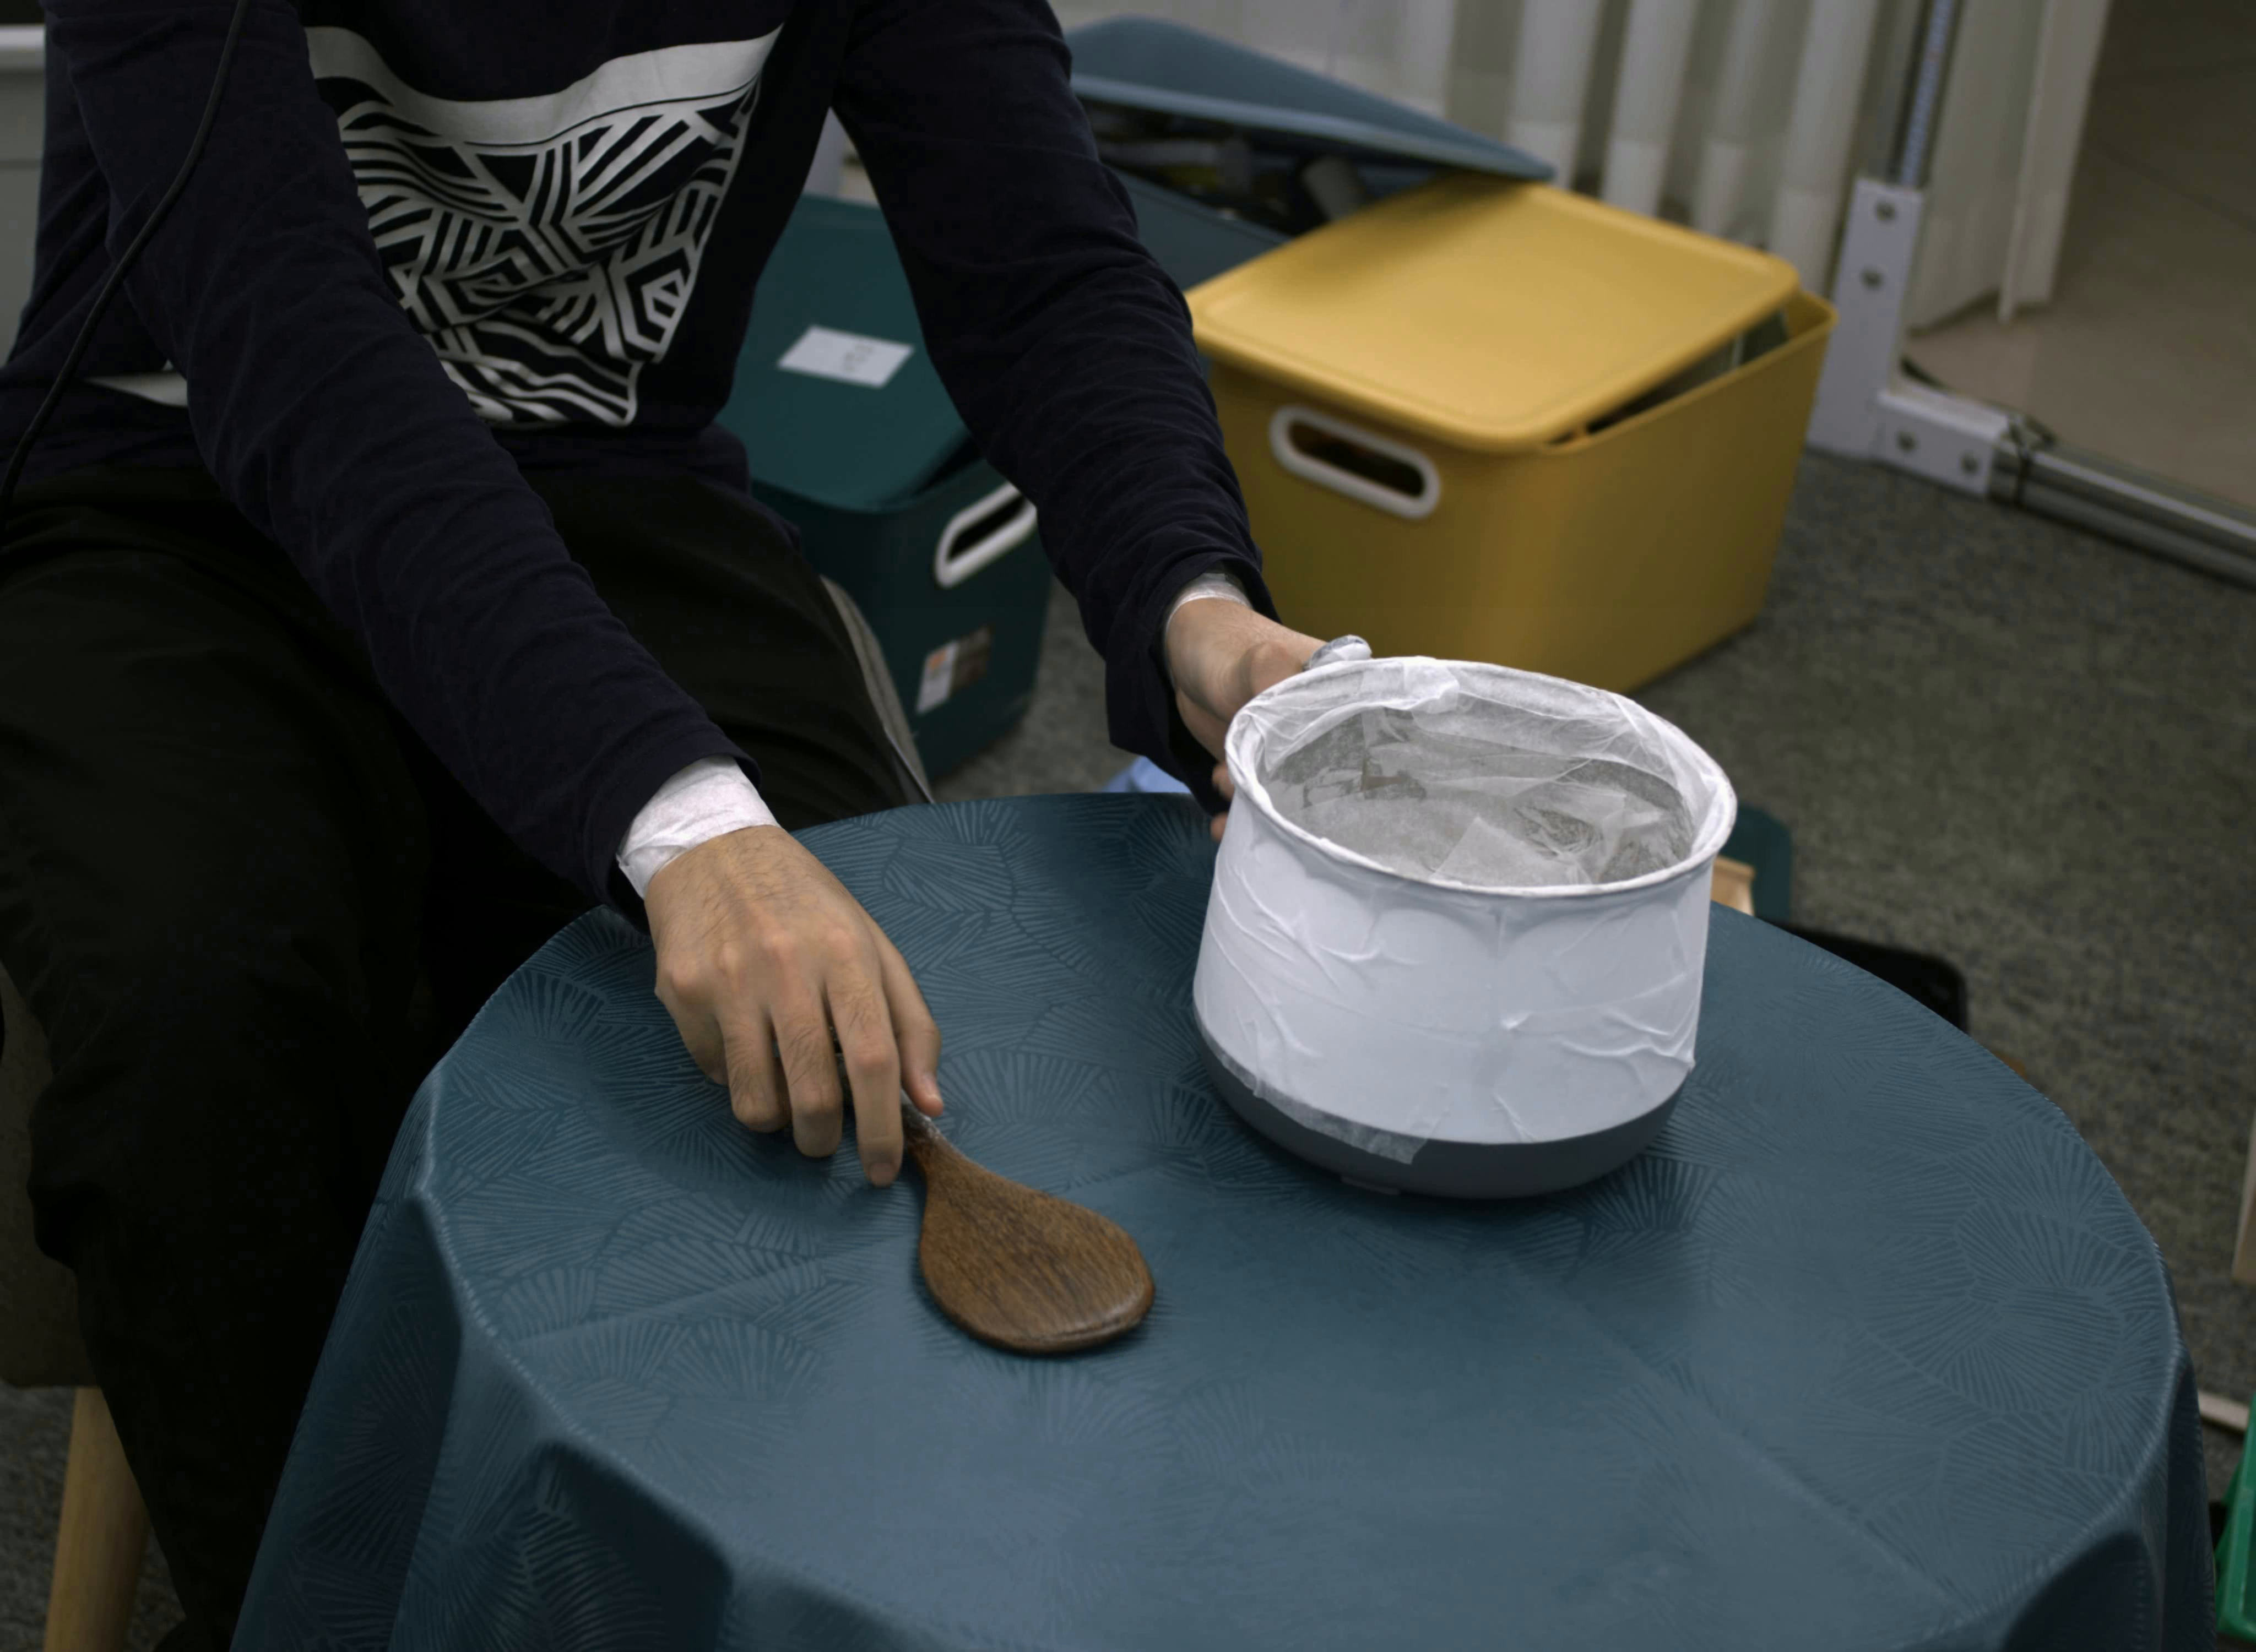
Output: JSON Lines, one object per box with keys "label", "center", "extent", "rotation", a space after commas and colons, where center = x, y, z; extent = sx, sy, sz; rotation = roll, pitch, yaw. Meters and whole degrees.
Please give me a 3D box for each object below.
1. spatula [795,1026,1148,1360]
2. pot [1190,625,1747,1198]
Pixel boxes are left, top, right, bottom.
{"label": "spatula", "center": [-0.061, 0.119, 1.792], "extent": [0.071, 0.009, 0.218], "rotation": [-10, 30, -24]}
{"label": "pot", "center": [0.102, 0.023, 1.872], "extent": [0.177, 0.136, 0.236], "rotation": [-5, 30, -27]}
